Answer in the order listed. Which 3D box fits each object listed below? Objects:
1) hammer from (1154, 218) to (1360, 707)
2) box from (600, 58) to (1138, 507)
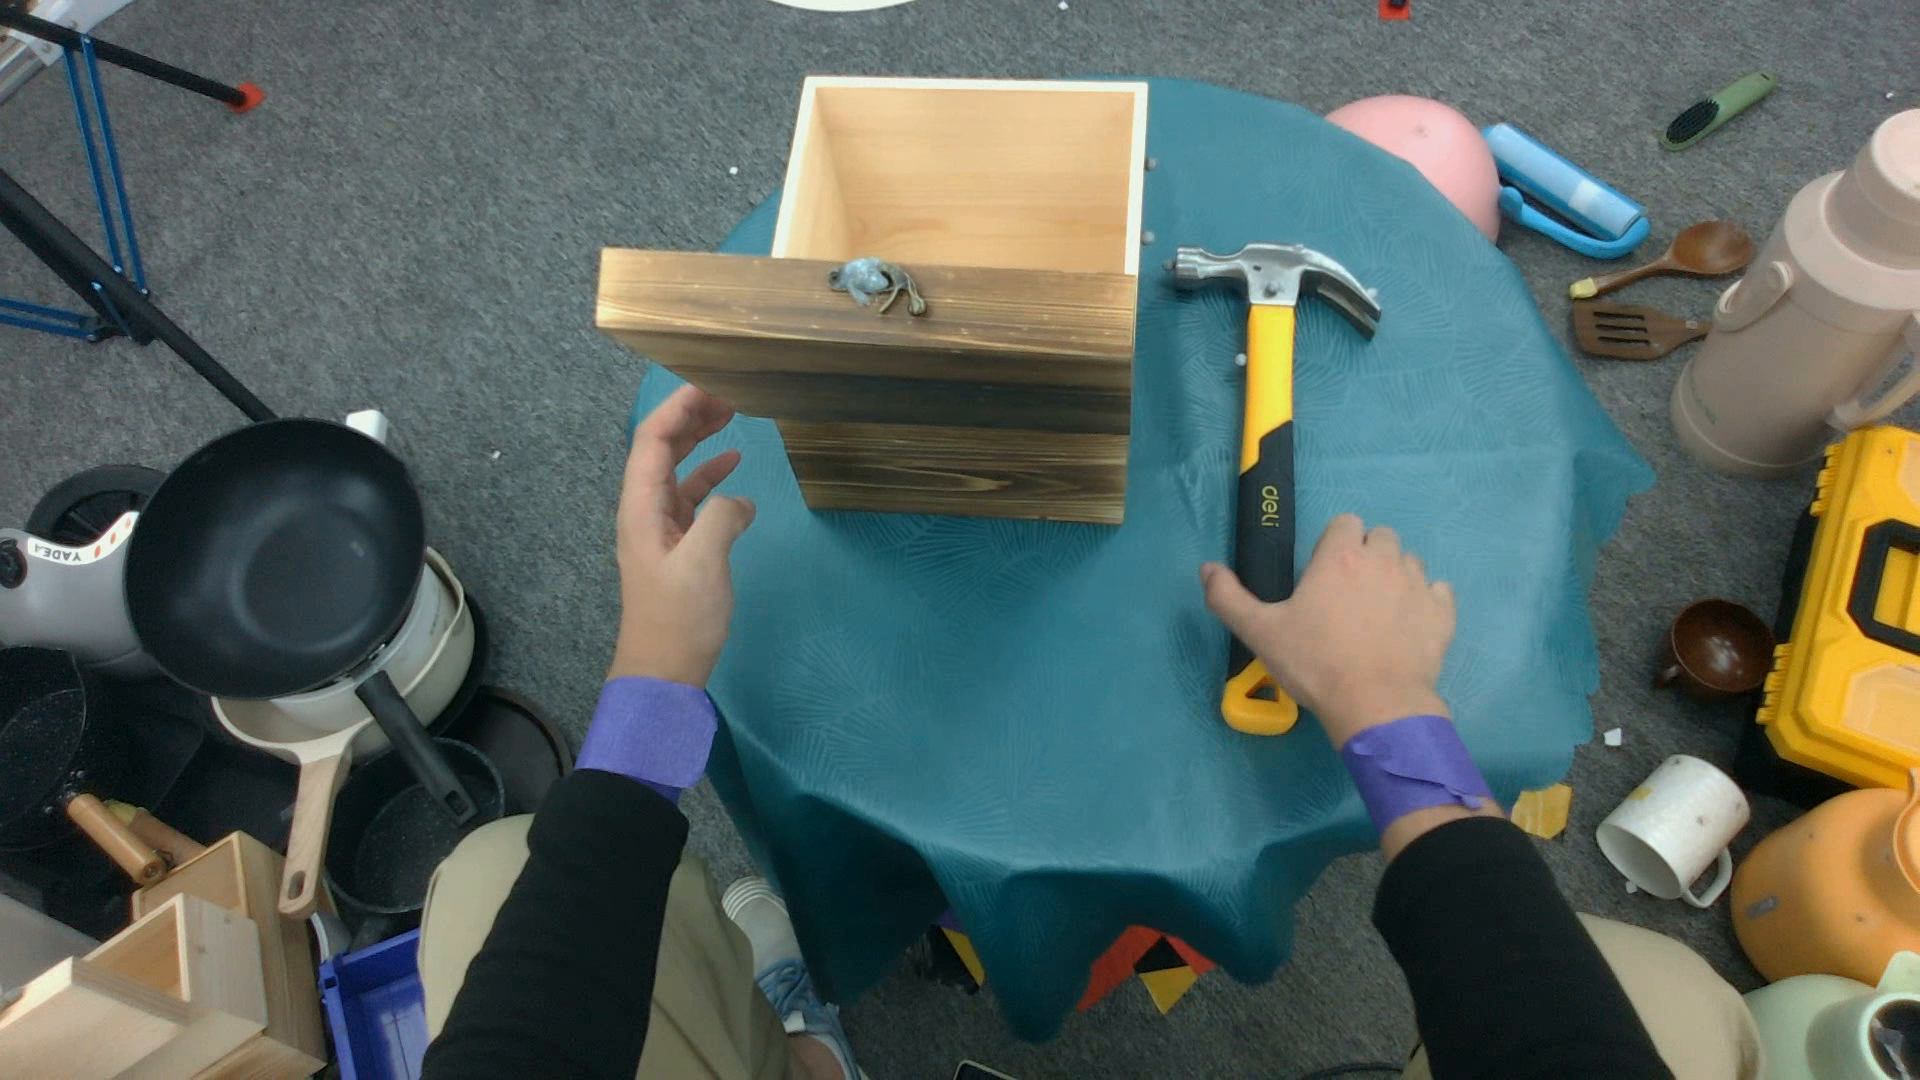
[{"bbox_3d":[0.177,-0.059,0.841,0.131,0.032,0.340,4,62,7],"label":"hammer"},{"bbox_3d":[-0.016,-0.149,0.723,0.208,0.374,0.323,3,64,5],"label":"box"}]
